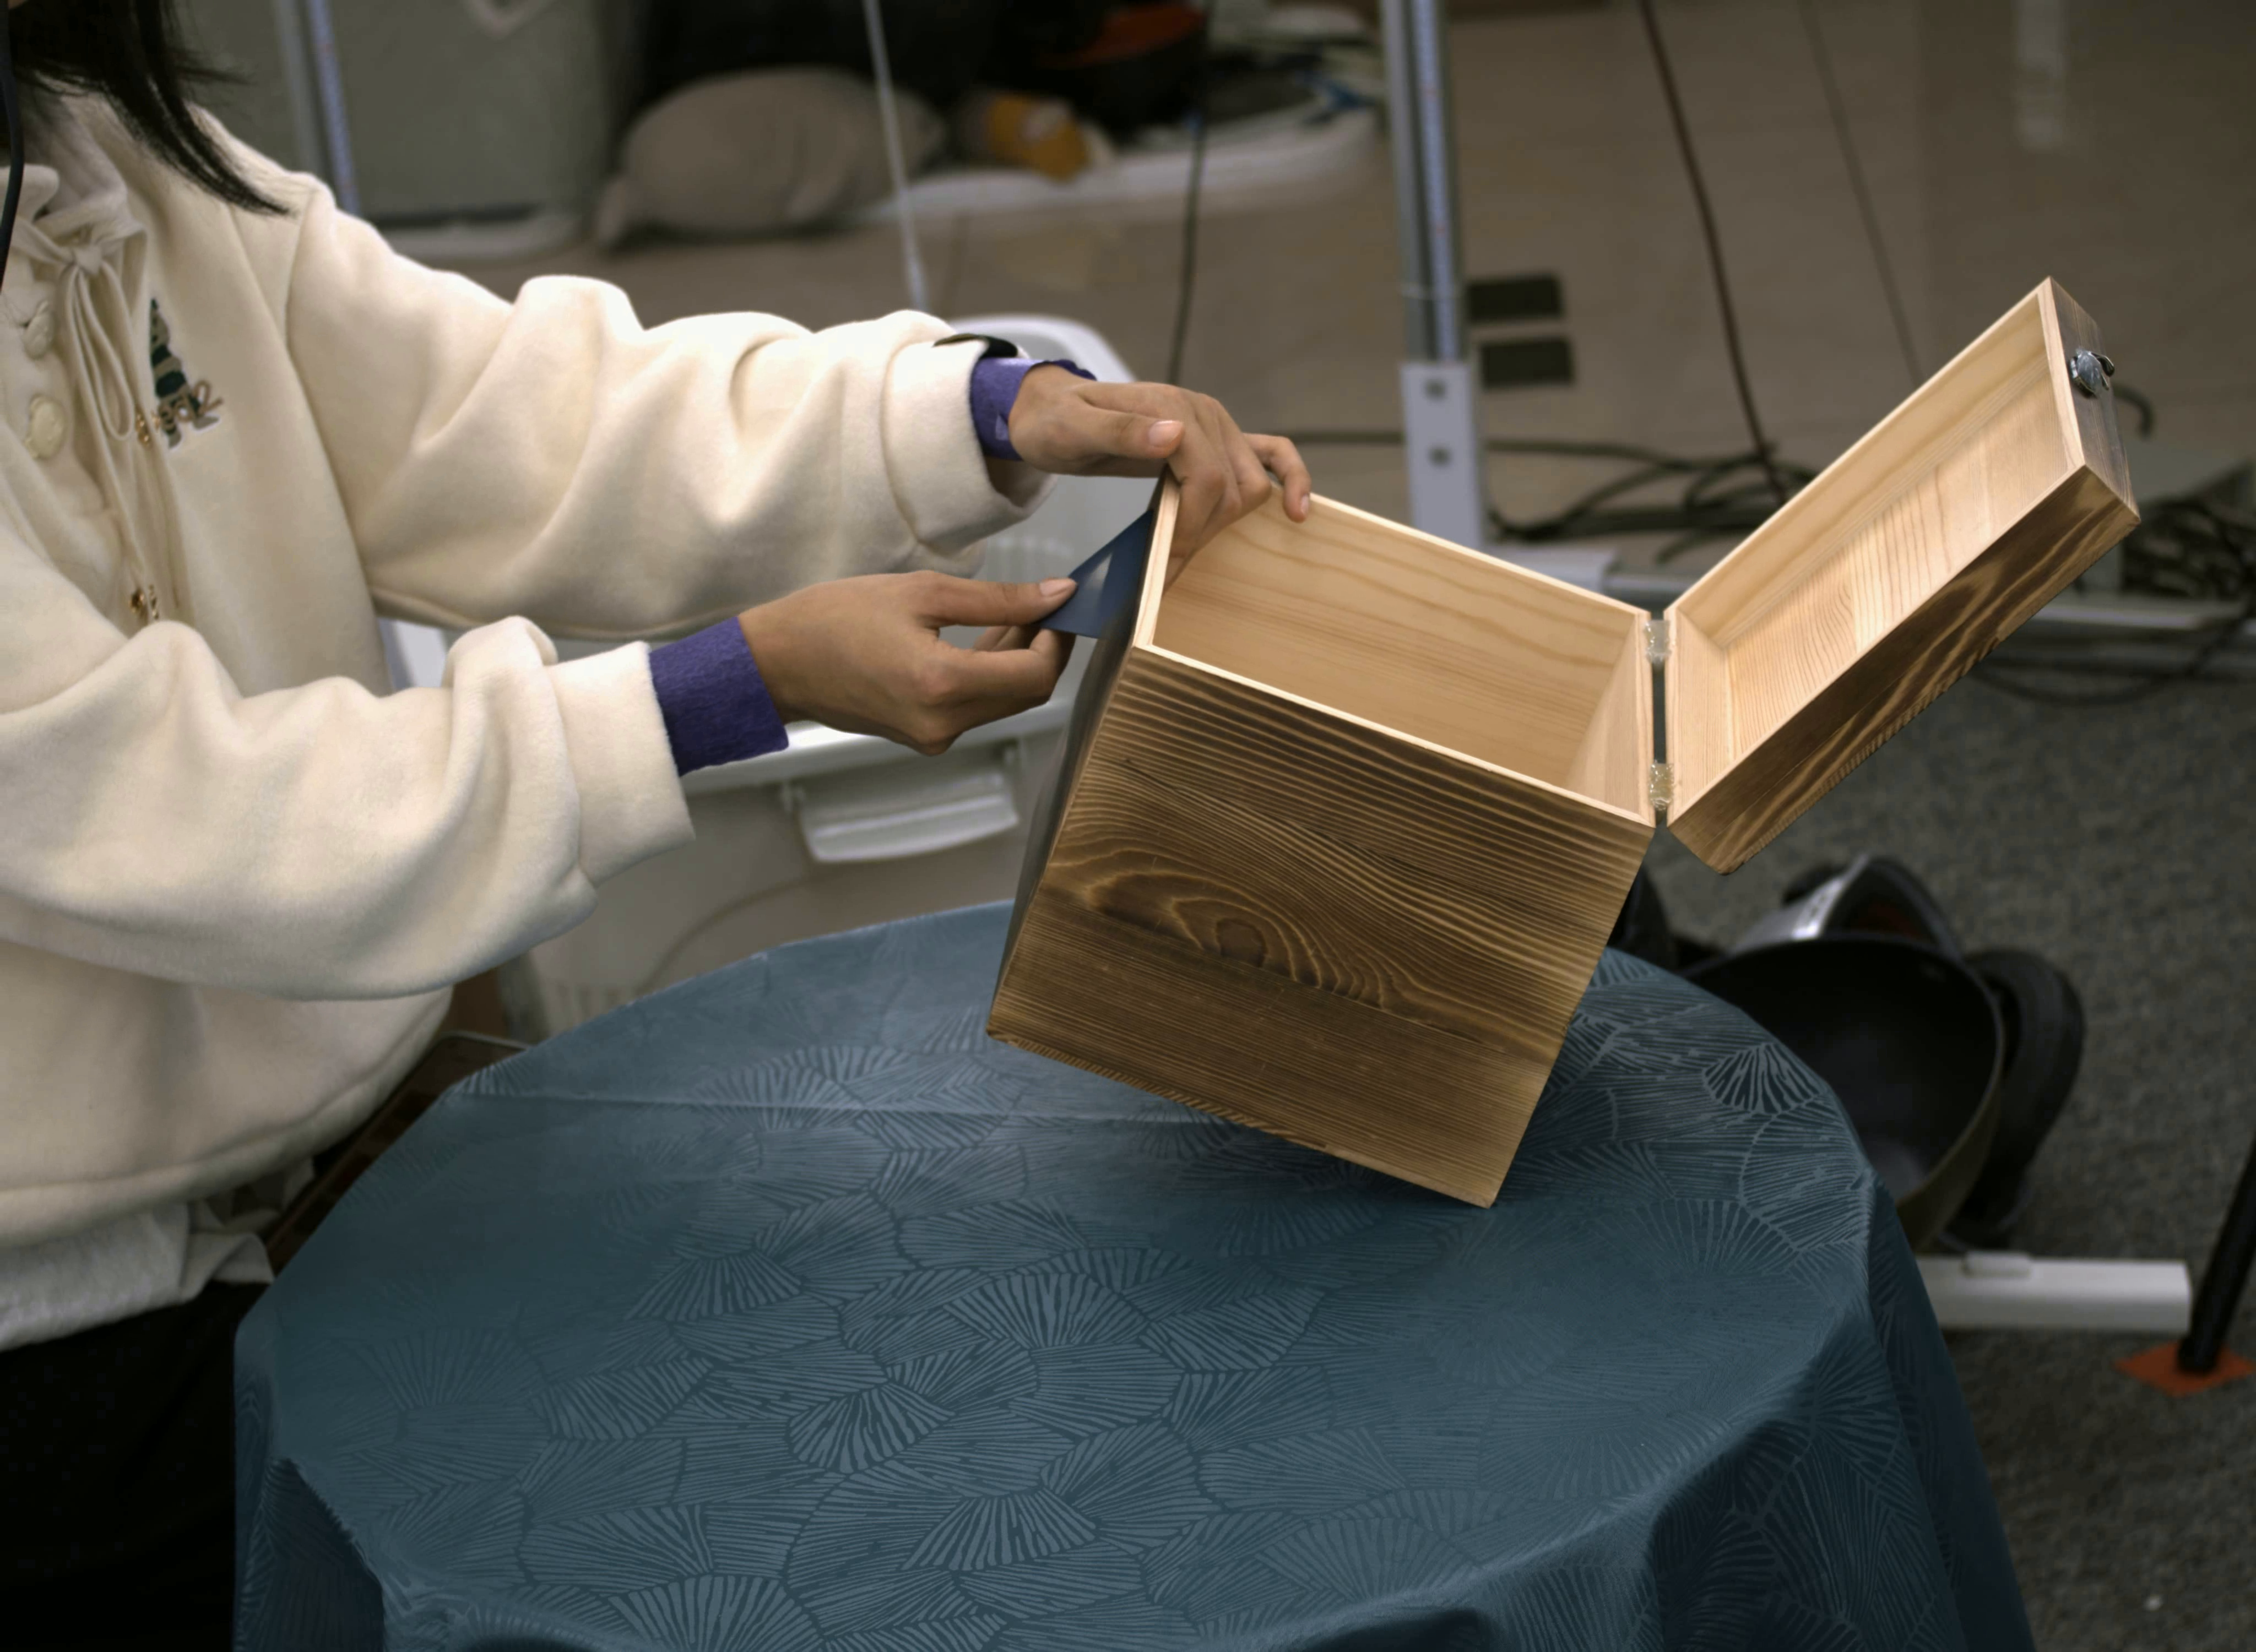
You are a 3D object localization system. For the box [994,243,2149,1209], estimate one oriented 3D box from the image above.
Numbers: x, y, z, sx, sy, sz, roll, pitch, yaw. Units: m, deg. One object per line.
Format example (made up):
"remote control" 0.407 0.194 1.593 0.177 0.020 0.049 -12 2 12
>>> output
"box" 0.156 -0.067 2.113 0.322 0.381 0.205 19 26 -5

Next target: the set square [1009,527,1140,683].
"set square" -0.026 -0.073 2.103 0.061 0.006 0.130 -31 18 21
